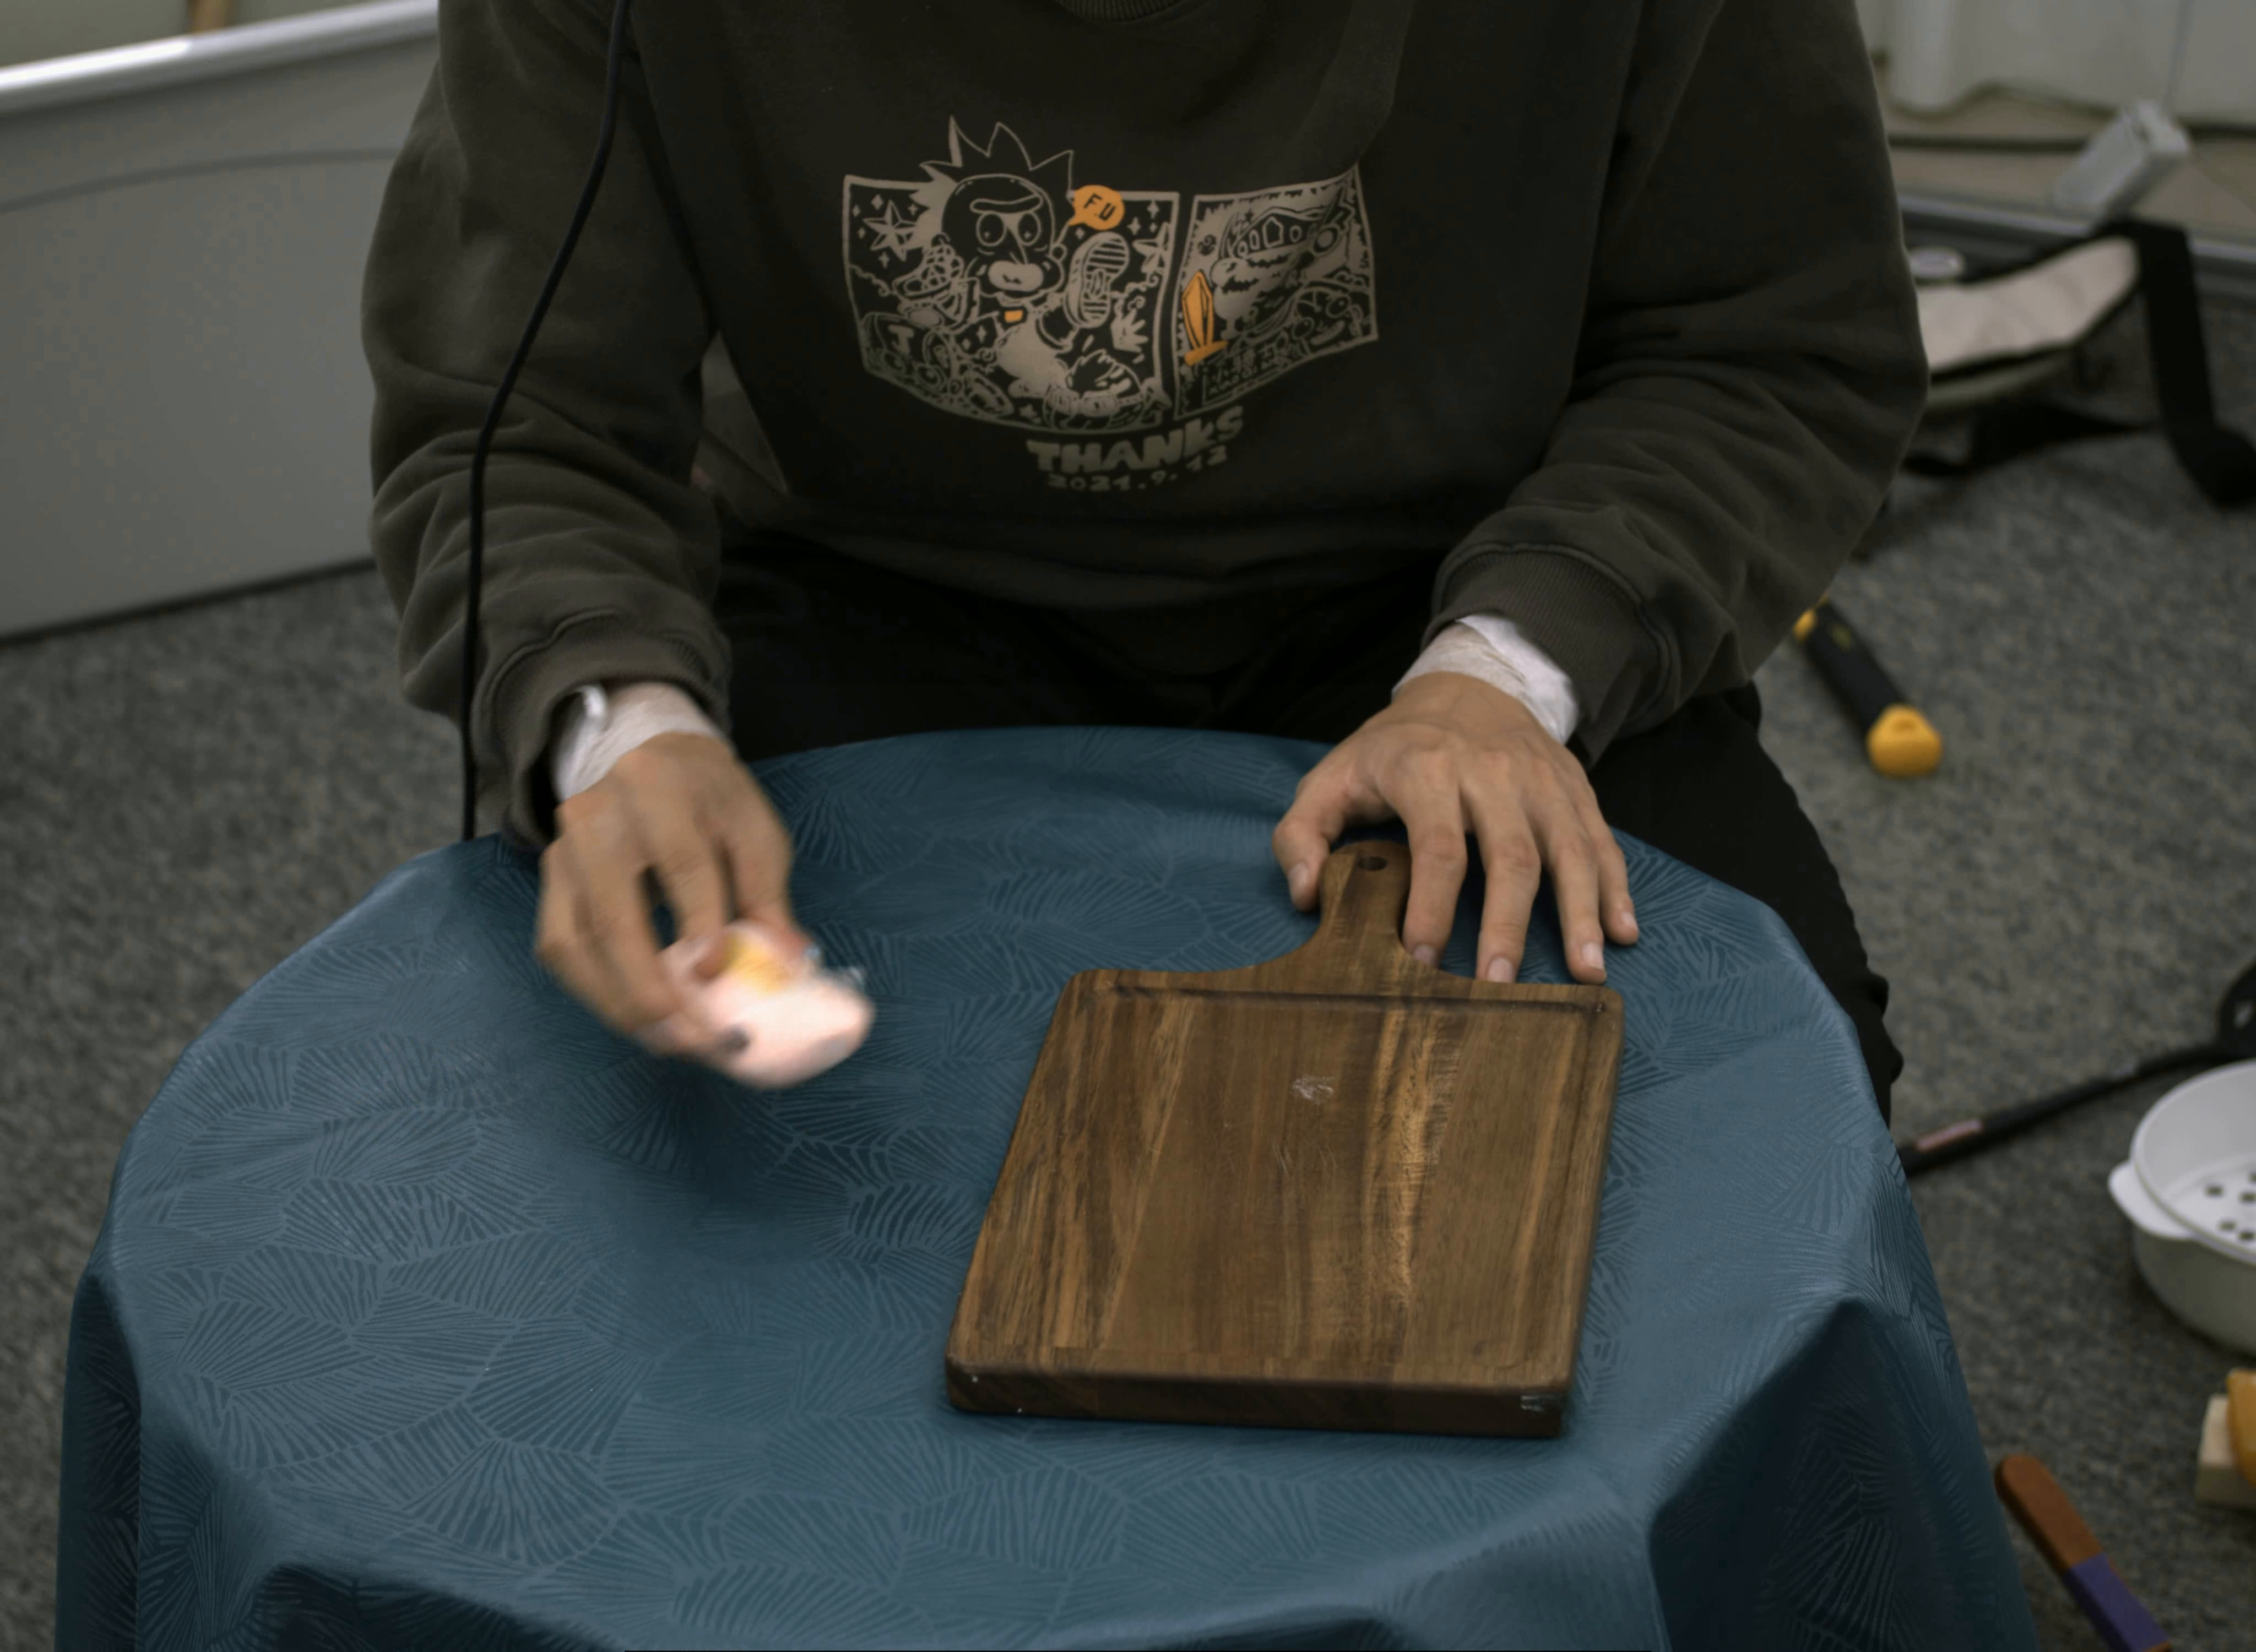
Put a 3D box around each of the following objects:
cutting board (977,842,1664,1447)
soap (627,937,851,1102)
[{"bbox_3d":[0.076,0.097,1.876,0.200,0.023,0.358,2,28,10],"label":"cutting board"},{"bbox_3d":[-0.129,0.064,1.860,0.051,0.030,0.094,-20,27,-24],"label":"soap"}]
